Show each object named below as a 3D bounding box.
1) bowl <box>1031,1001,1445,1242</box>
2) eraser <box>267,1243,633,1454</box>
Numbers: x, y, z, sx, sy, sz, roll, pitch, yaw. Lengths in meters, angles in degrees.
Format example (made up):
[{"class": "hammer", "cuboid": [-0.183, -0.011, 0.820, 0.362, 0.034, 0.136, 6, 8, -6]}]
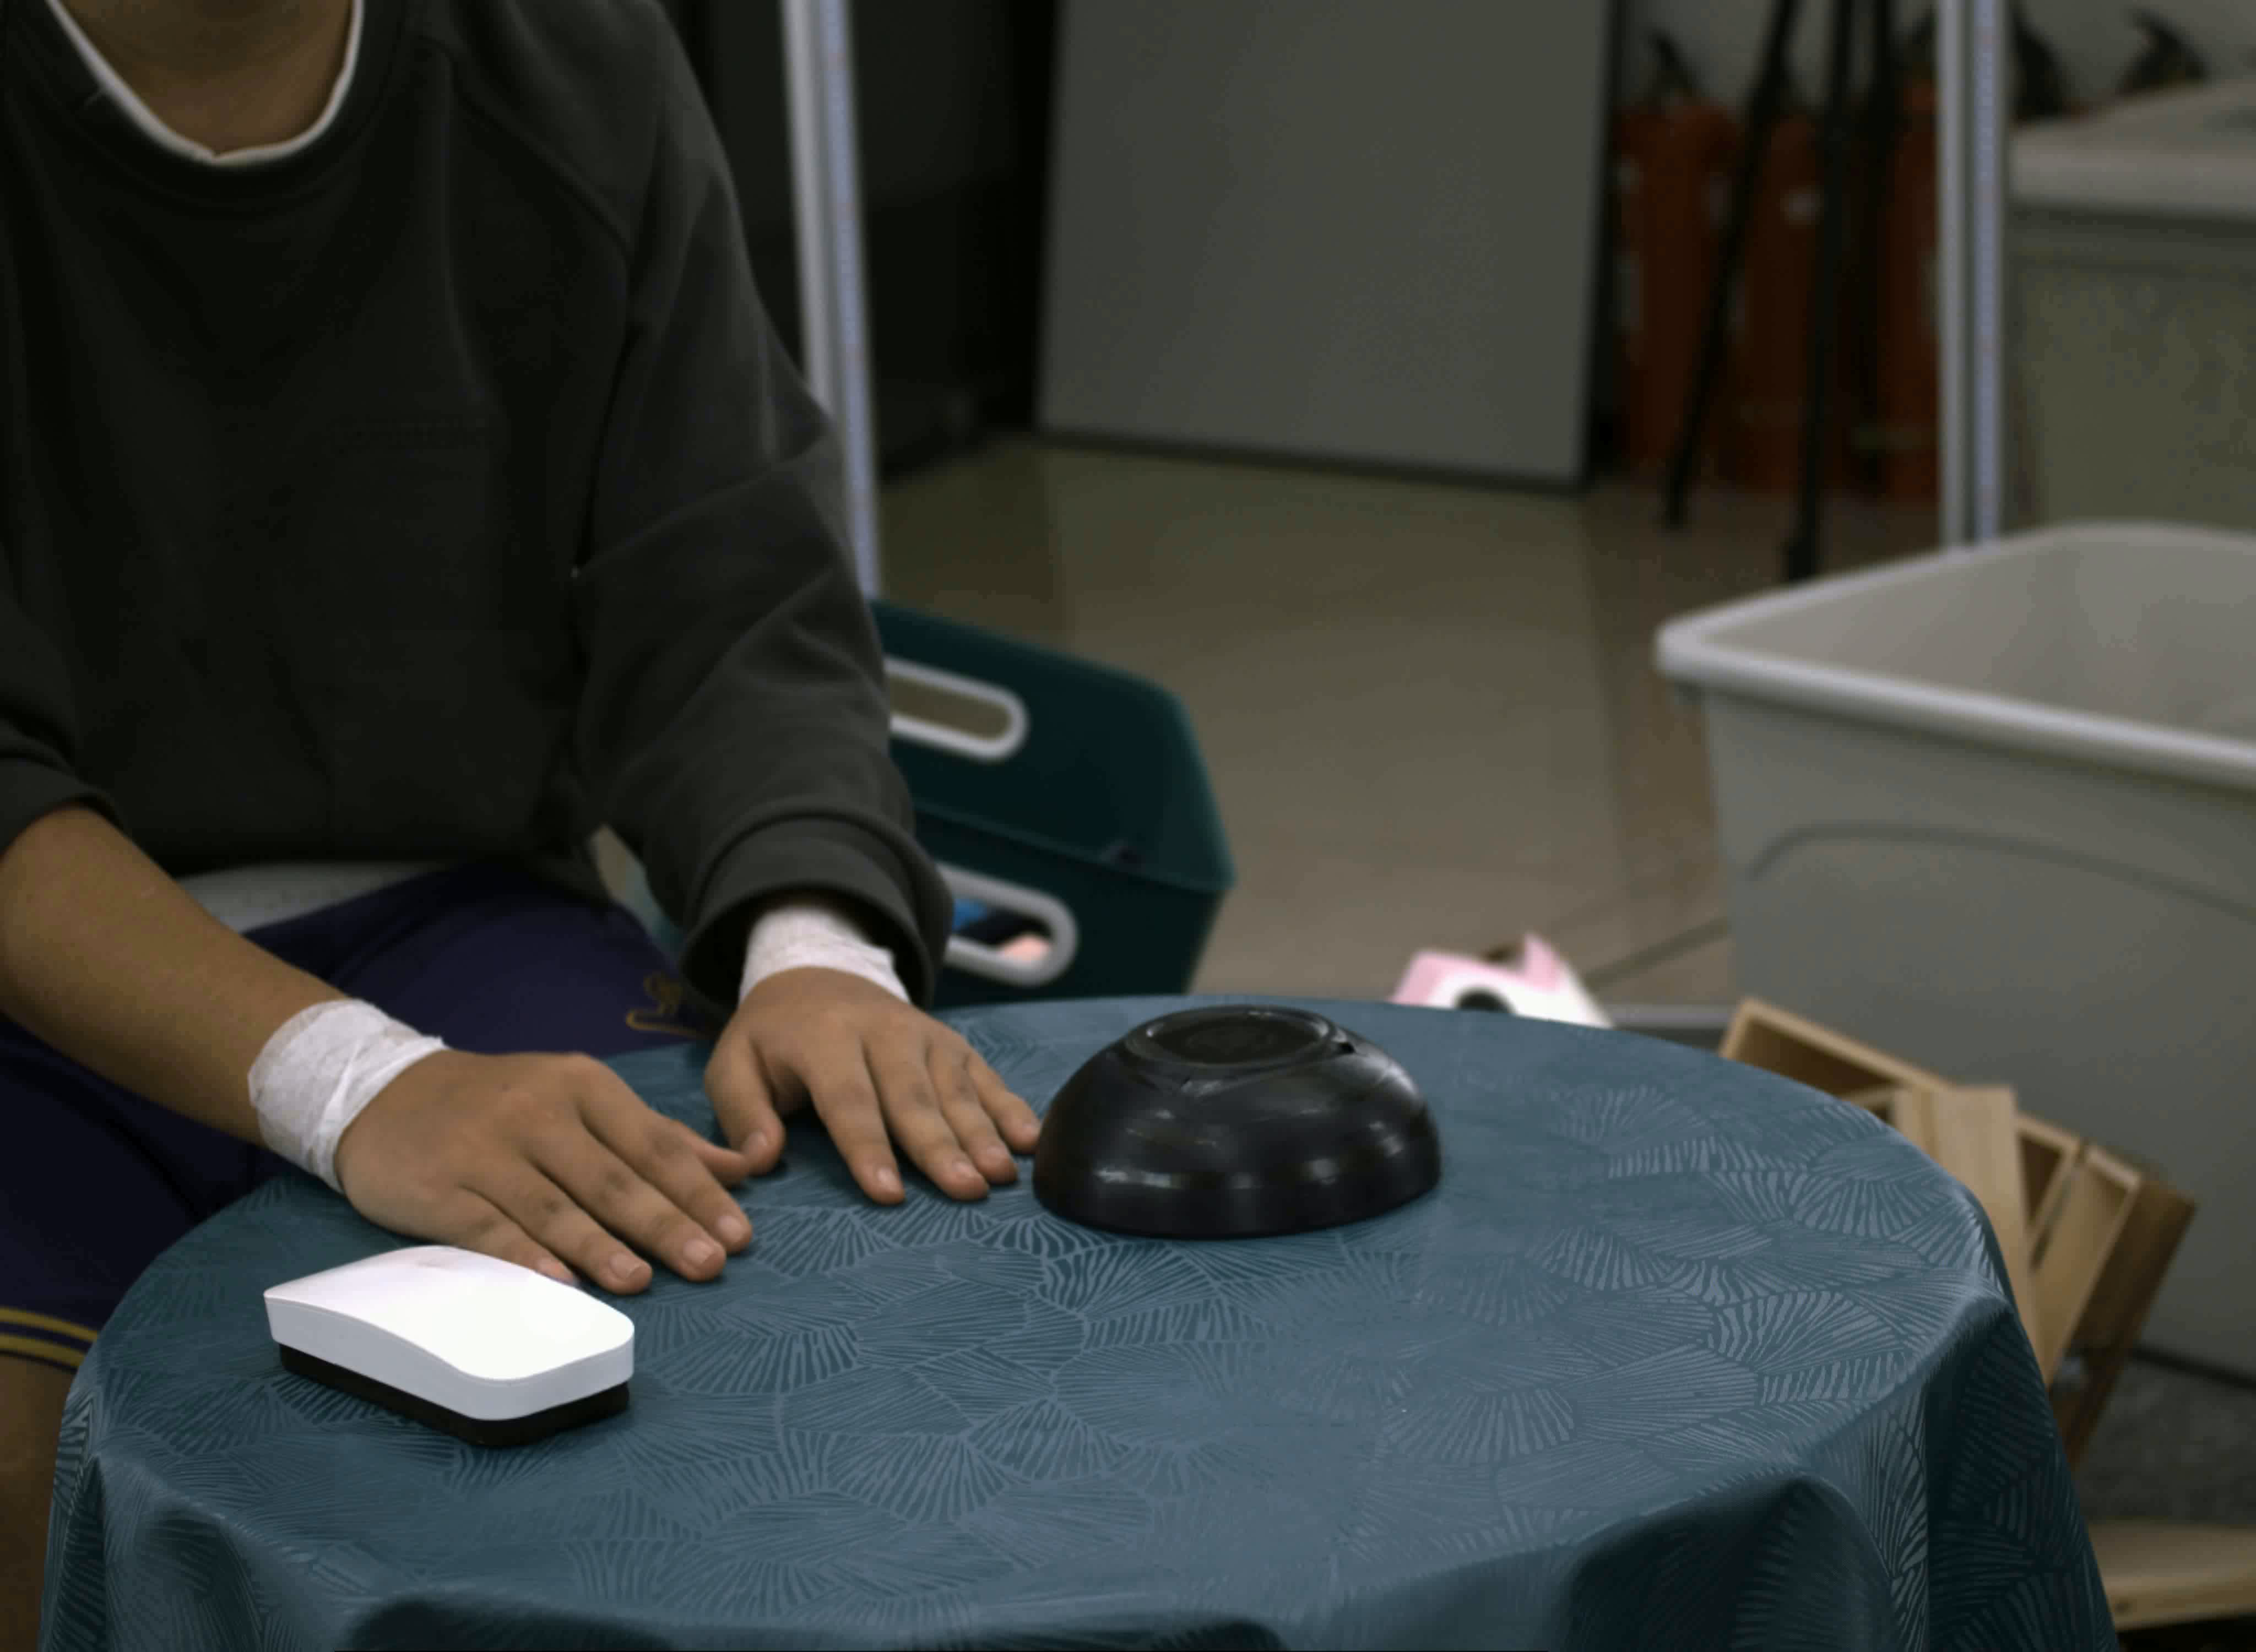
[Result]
[{"class": "bowl", "cuboid": [0.035, 0.091, 1.773, 0.138, 0.050, 0.140, -5, 15, 0]}, {"class": "eraser", "cuboid": [-0.203, 0.153, 1.627, 0.062, 0.035, 0.132, -13, 18, -37]}]
